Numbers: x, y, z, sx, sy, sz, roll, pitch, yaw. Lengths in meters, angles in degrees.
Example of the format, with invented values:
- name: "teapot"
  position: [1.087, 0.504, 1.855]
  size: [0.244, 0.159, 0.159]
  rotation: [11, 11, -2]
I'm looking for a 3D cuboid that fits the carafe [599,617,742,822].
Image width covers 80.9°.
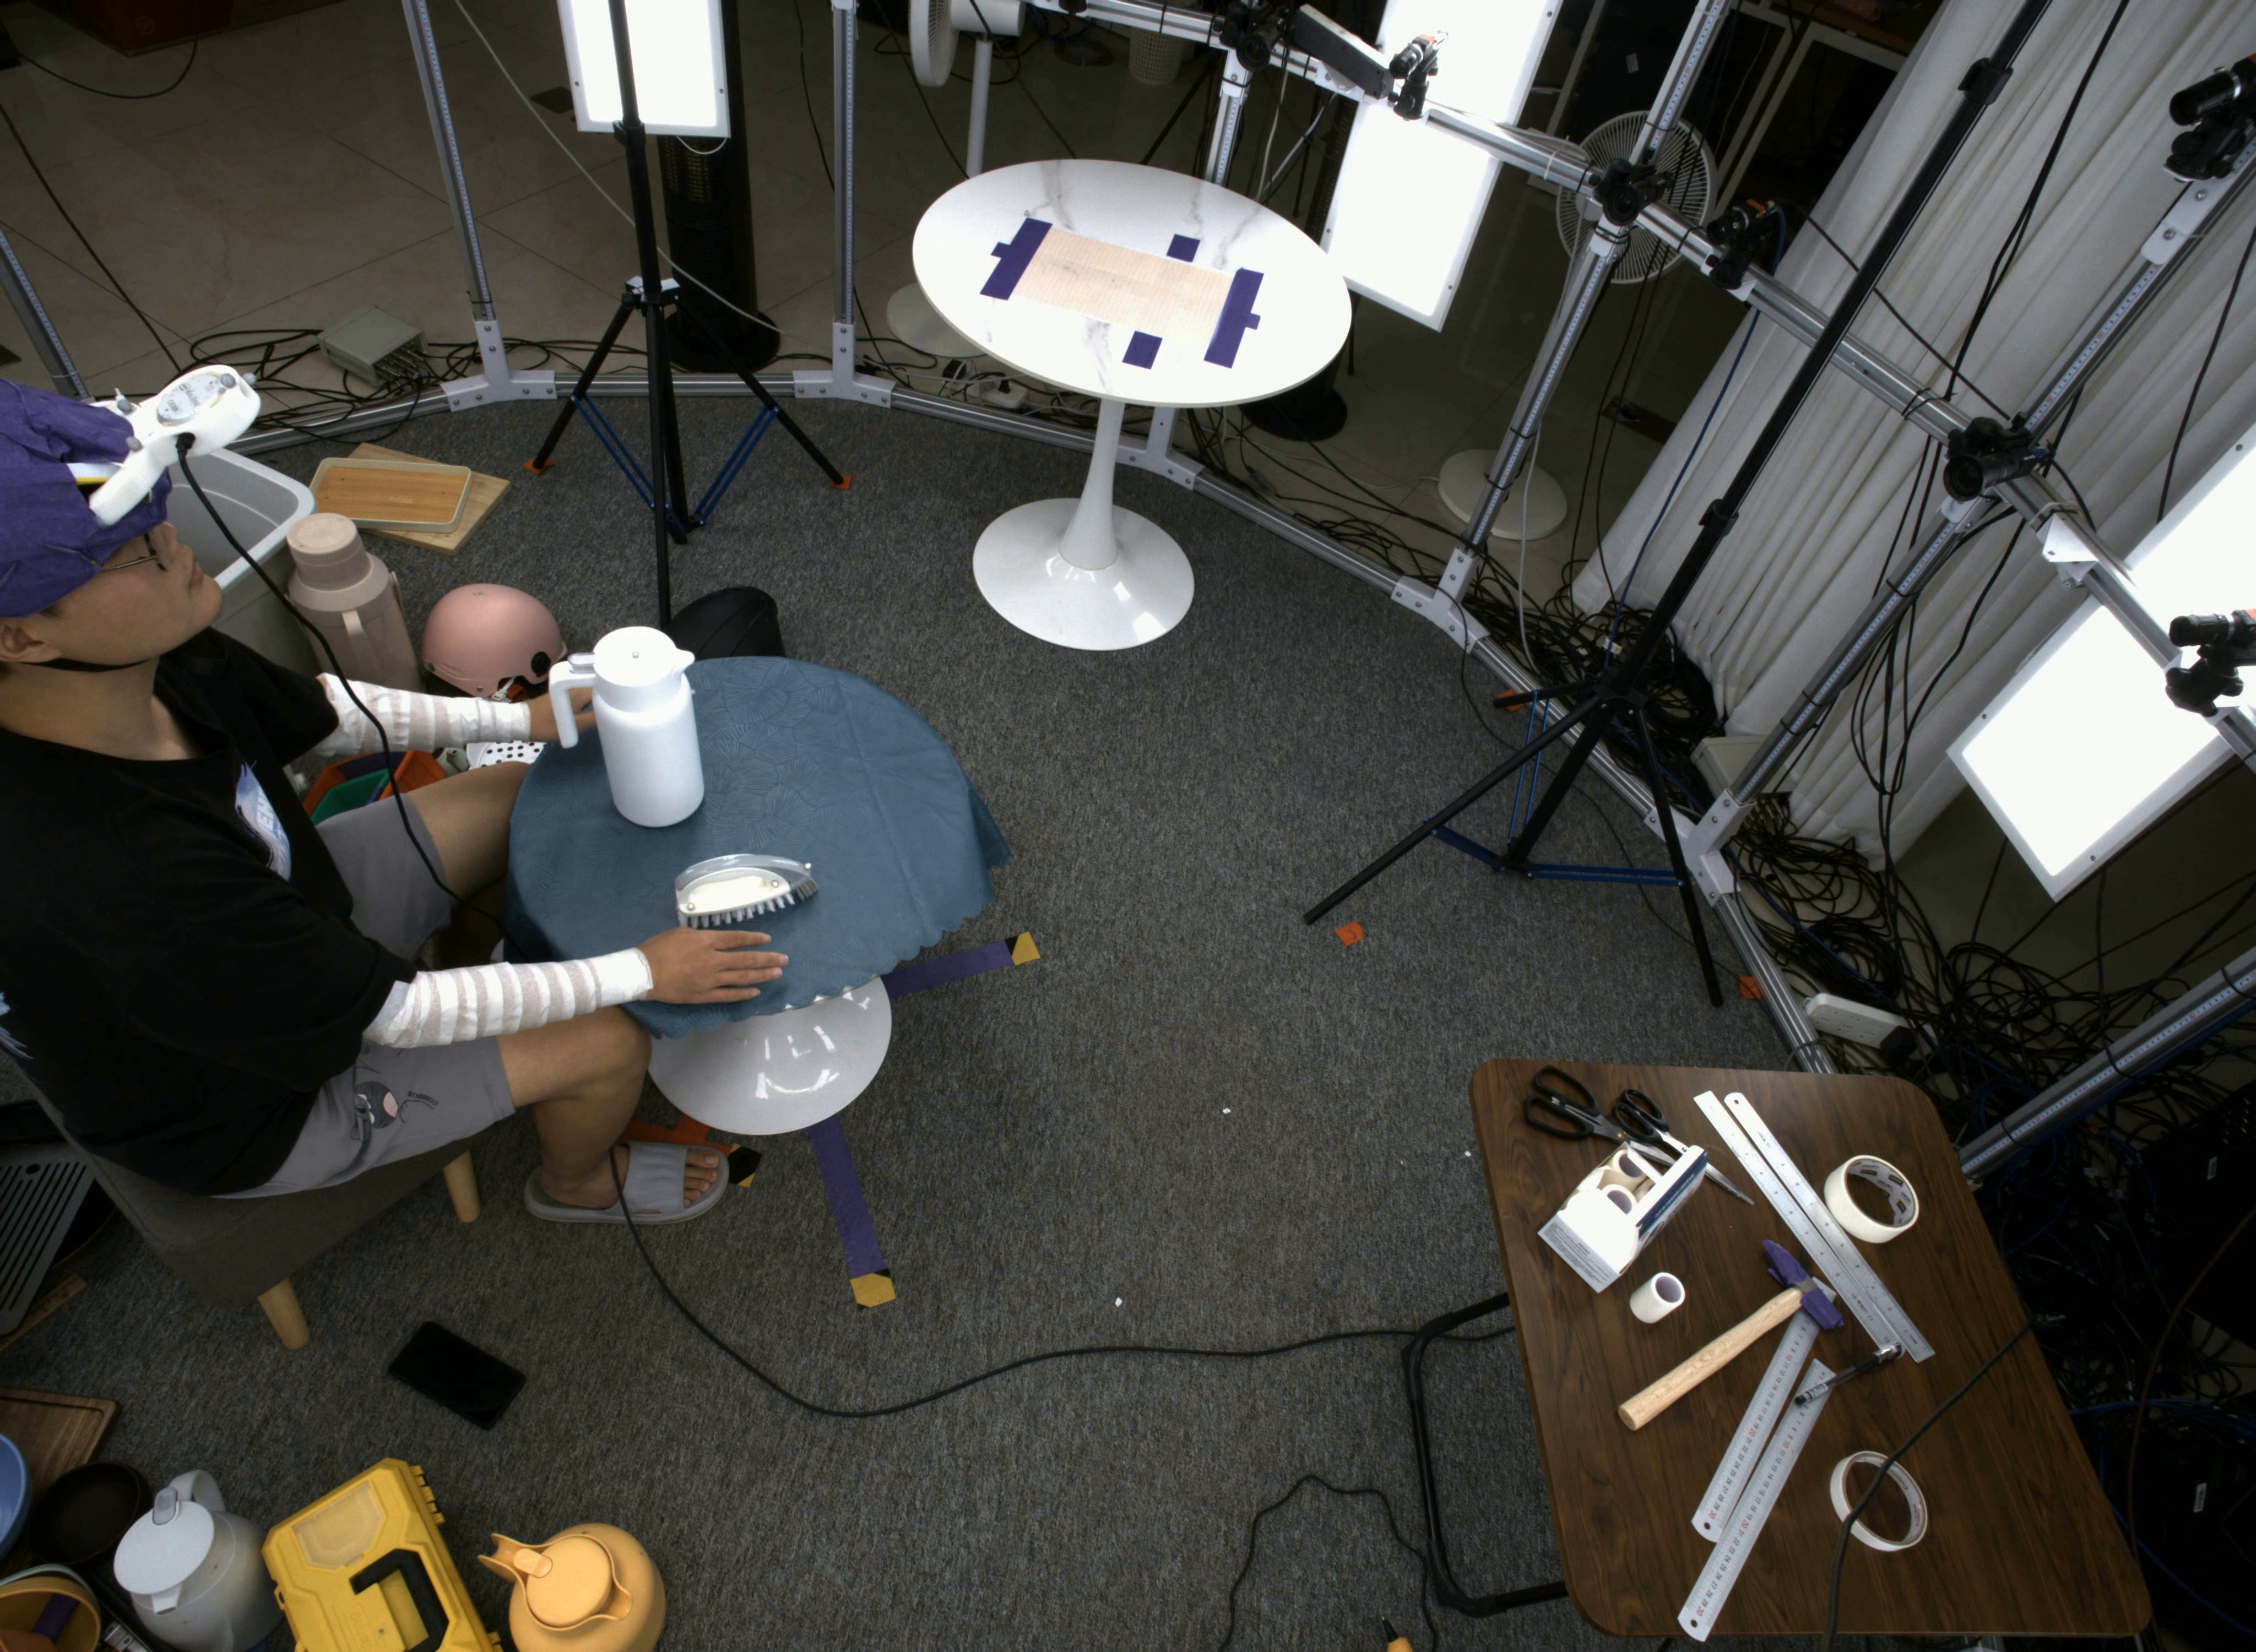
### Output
- name: "carafe"
  position: [-0.575, -0.129, 1.621]
  size: [0.173, 0.274, 0.121]
  rotation: [-7, 56, -16]

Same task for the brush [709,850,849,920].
- name: "brush"
  position: [-0.438, 0.061, 1.627]
  size: [0.176, 0.096, 0.060]
  rotation: [-8, 57, -20]
